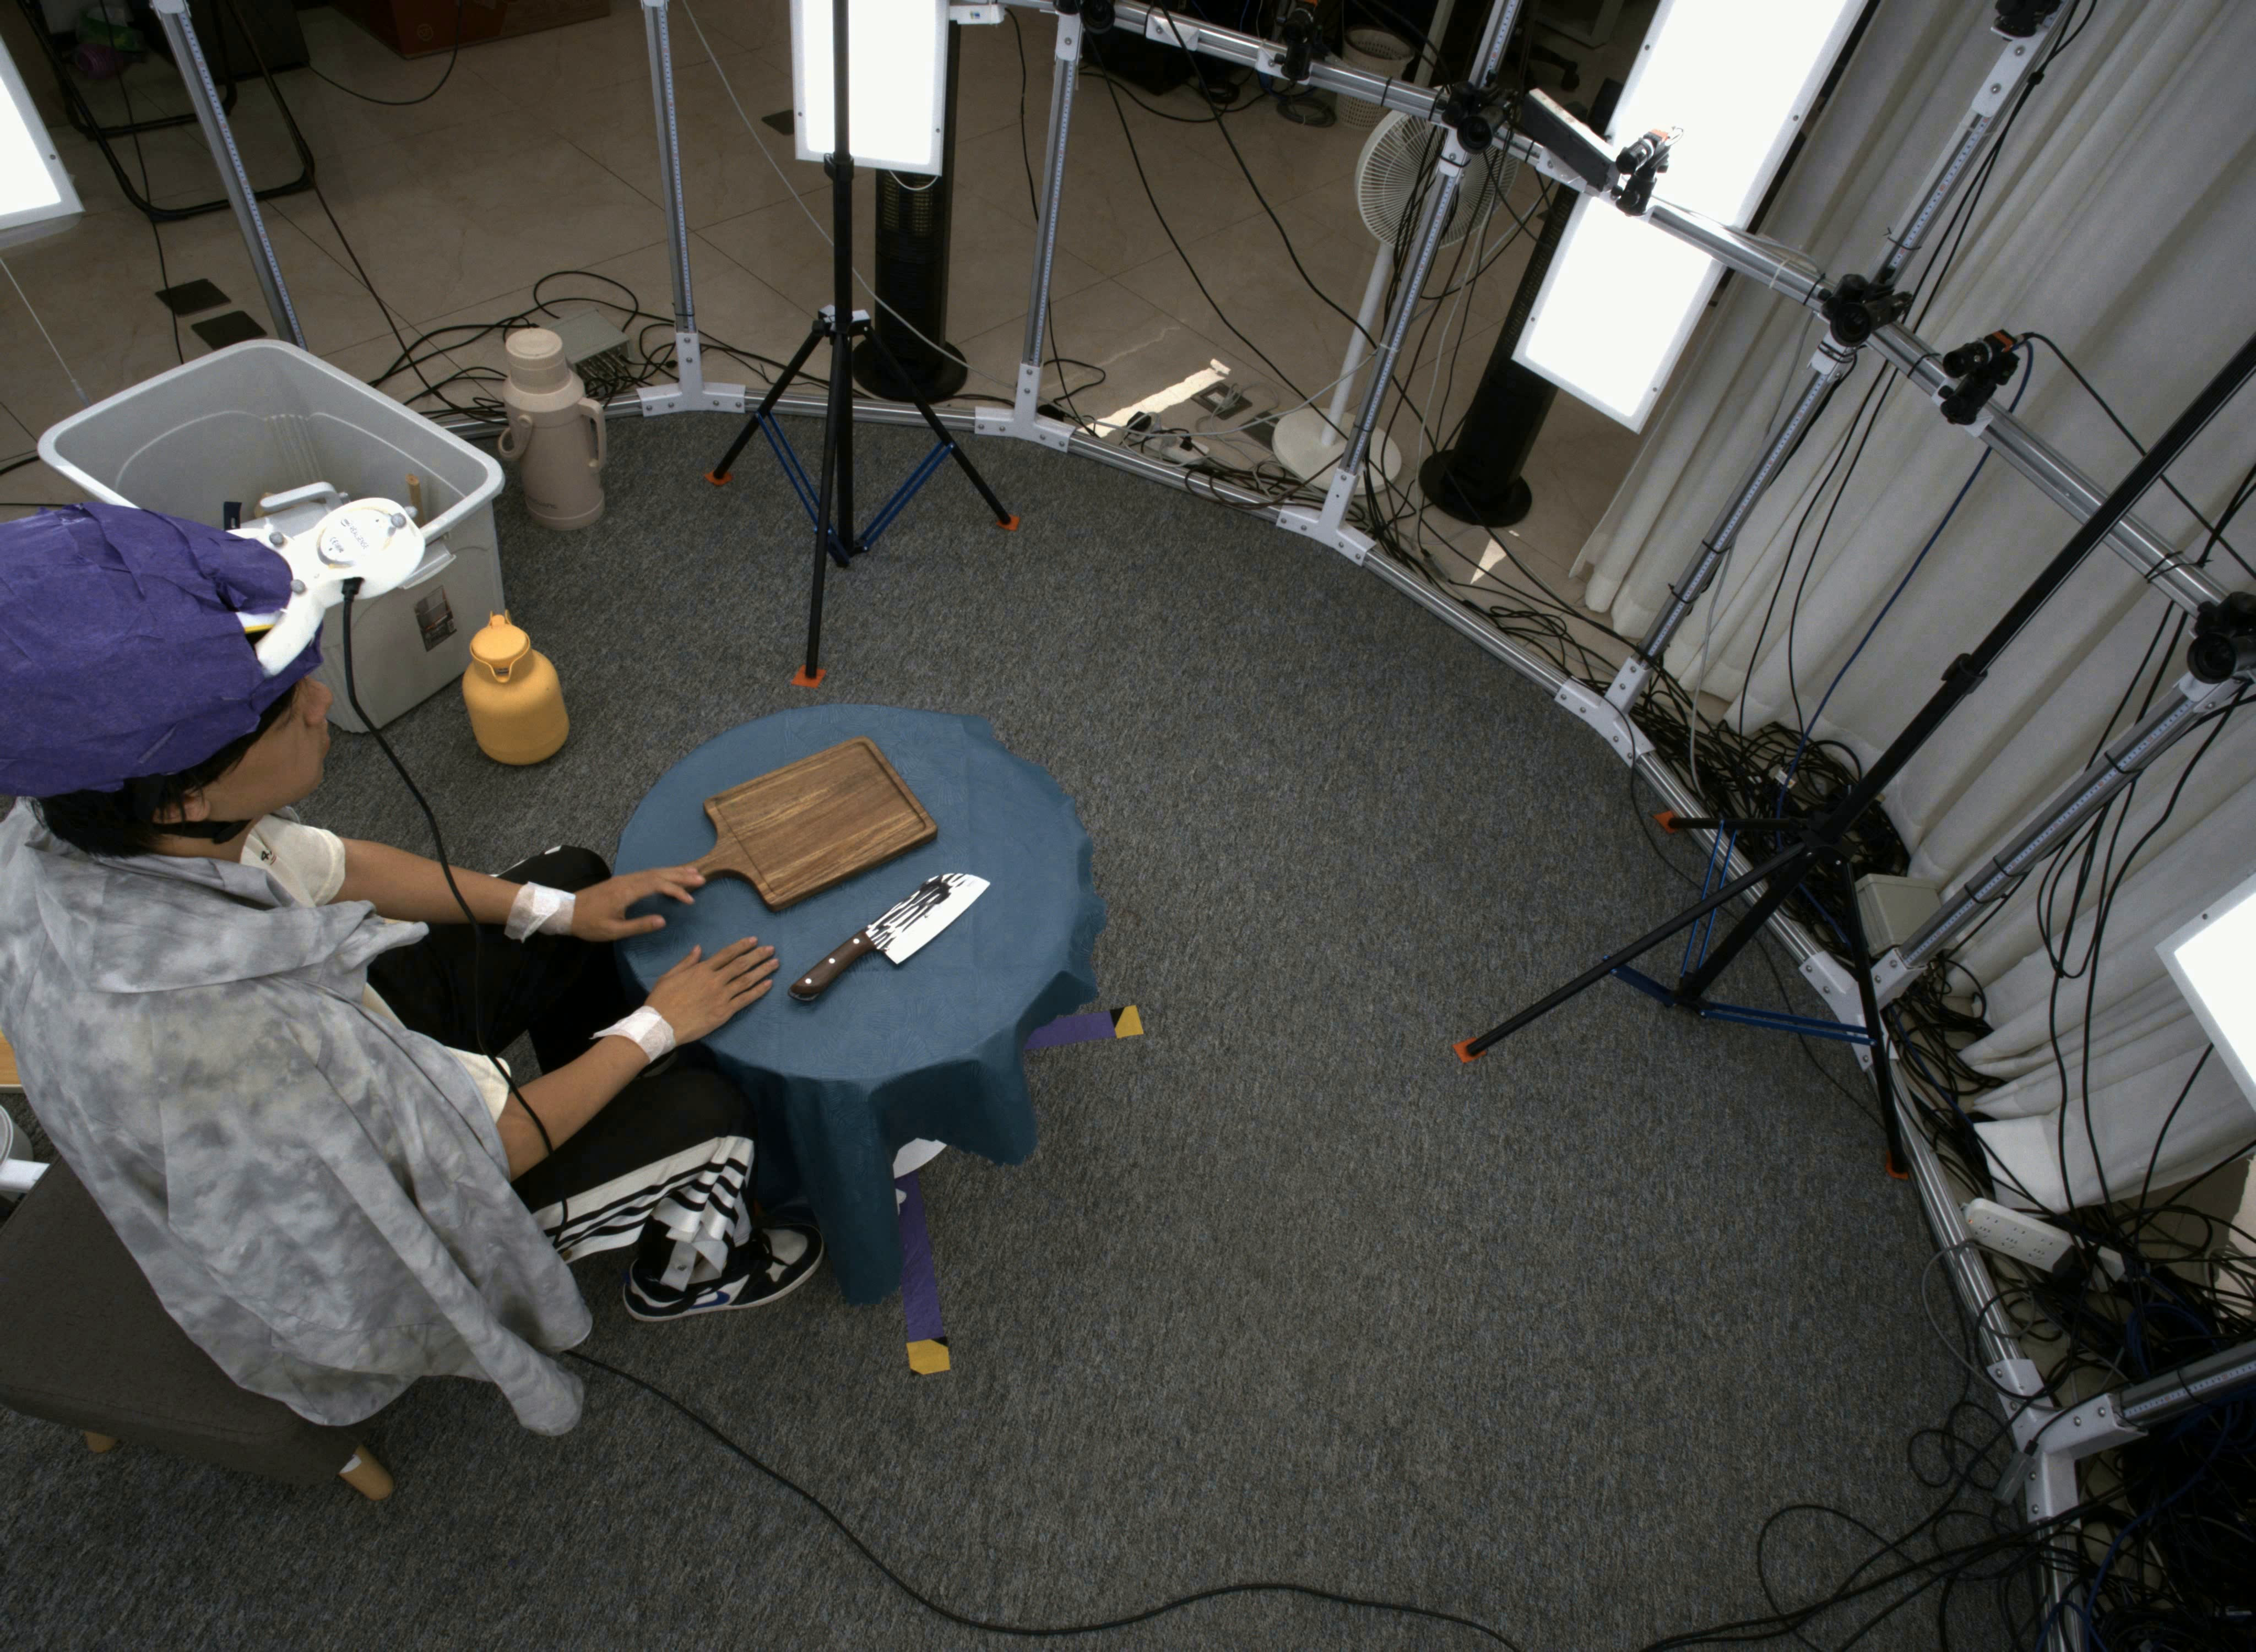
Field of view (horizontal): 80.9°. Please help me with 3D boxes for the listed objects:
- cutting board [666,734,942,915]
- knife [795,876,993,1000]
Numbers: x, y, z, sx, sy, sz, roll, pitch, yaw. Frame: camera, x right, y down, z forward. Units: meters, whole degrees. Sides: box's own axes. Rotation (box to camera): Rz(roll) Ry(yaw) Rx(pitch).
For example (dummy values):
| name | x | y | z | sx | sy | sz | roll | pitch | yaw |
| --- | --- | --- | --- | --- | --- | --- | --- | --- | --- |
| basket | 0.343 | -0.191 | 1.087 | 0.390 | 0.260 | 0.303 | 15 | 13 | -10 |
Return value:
| name | x | y | z | sx | sy | sz | roll | pitch | yaw |
| --- | --- | --- | --- | --- | --- | --- | --- | --- | --- |
| cutting board | -0.441 | 0.011 | 1.701 | 0.353 | 0.023 | 0.196 | -27 | 64 | -29 |
| knife | -0.289 | 0.138 | 1.644 | 0.067 | 0.024 | 0.300 | 40 | 52 | 15 |
